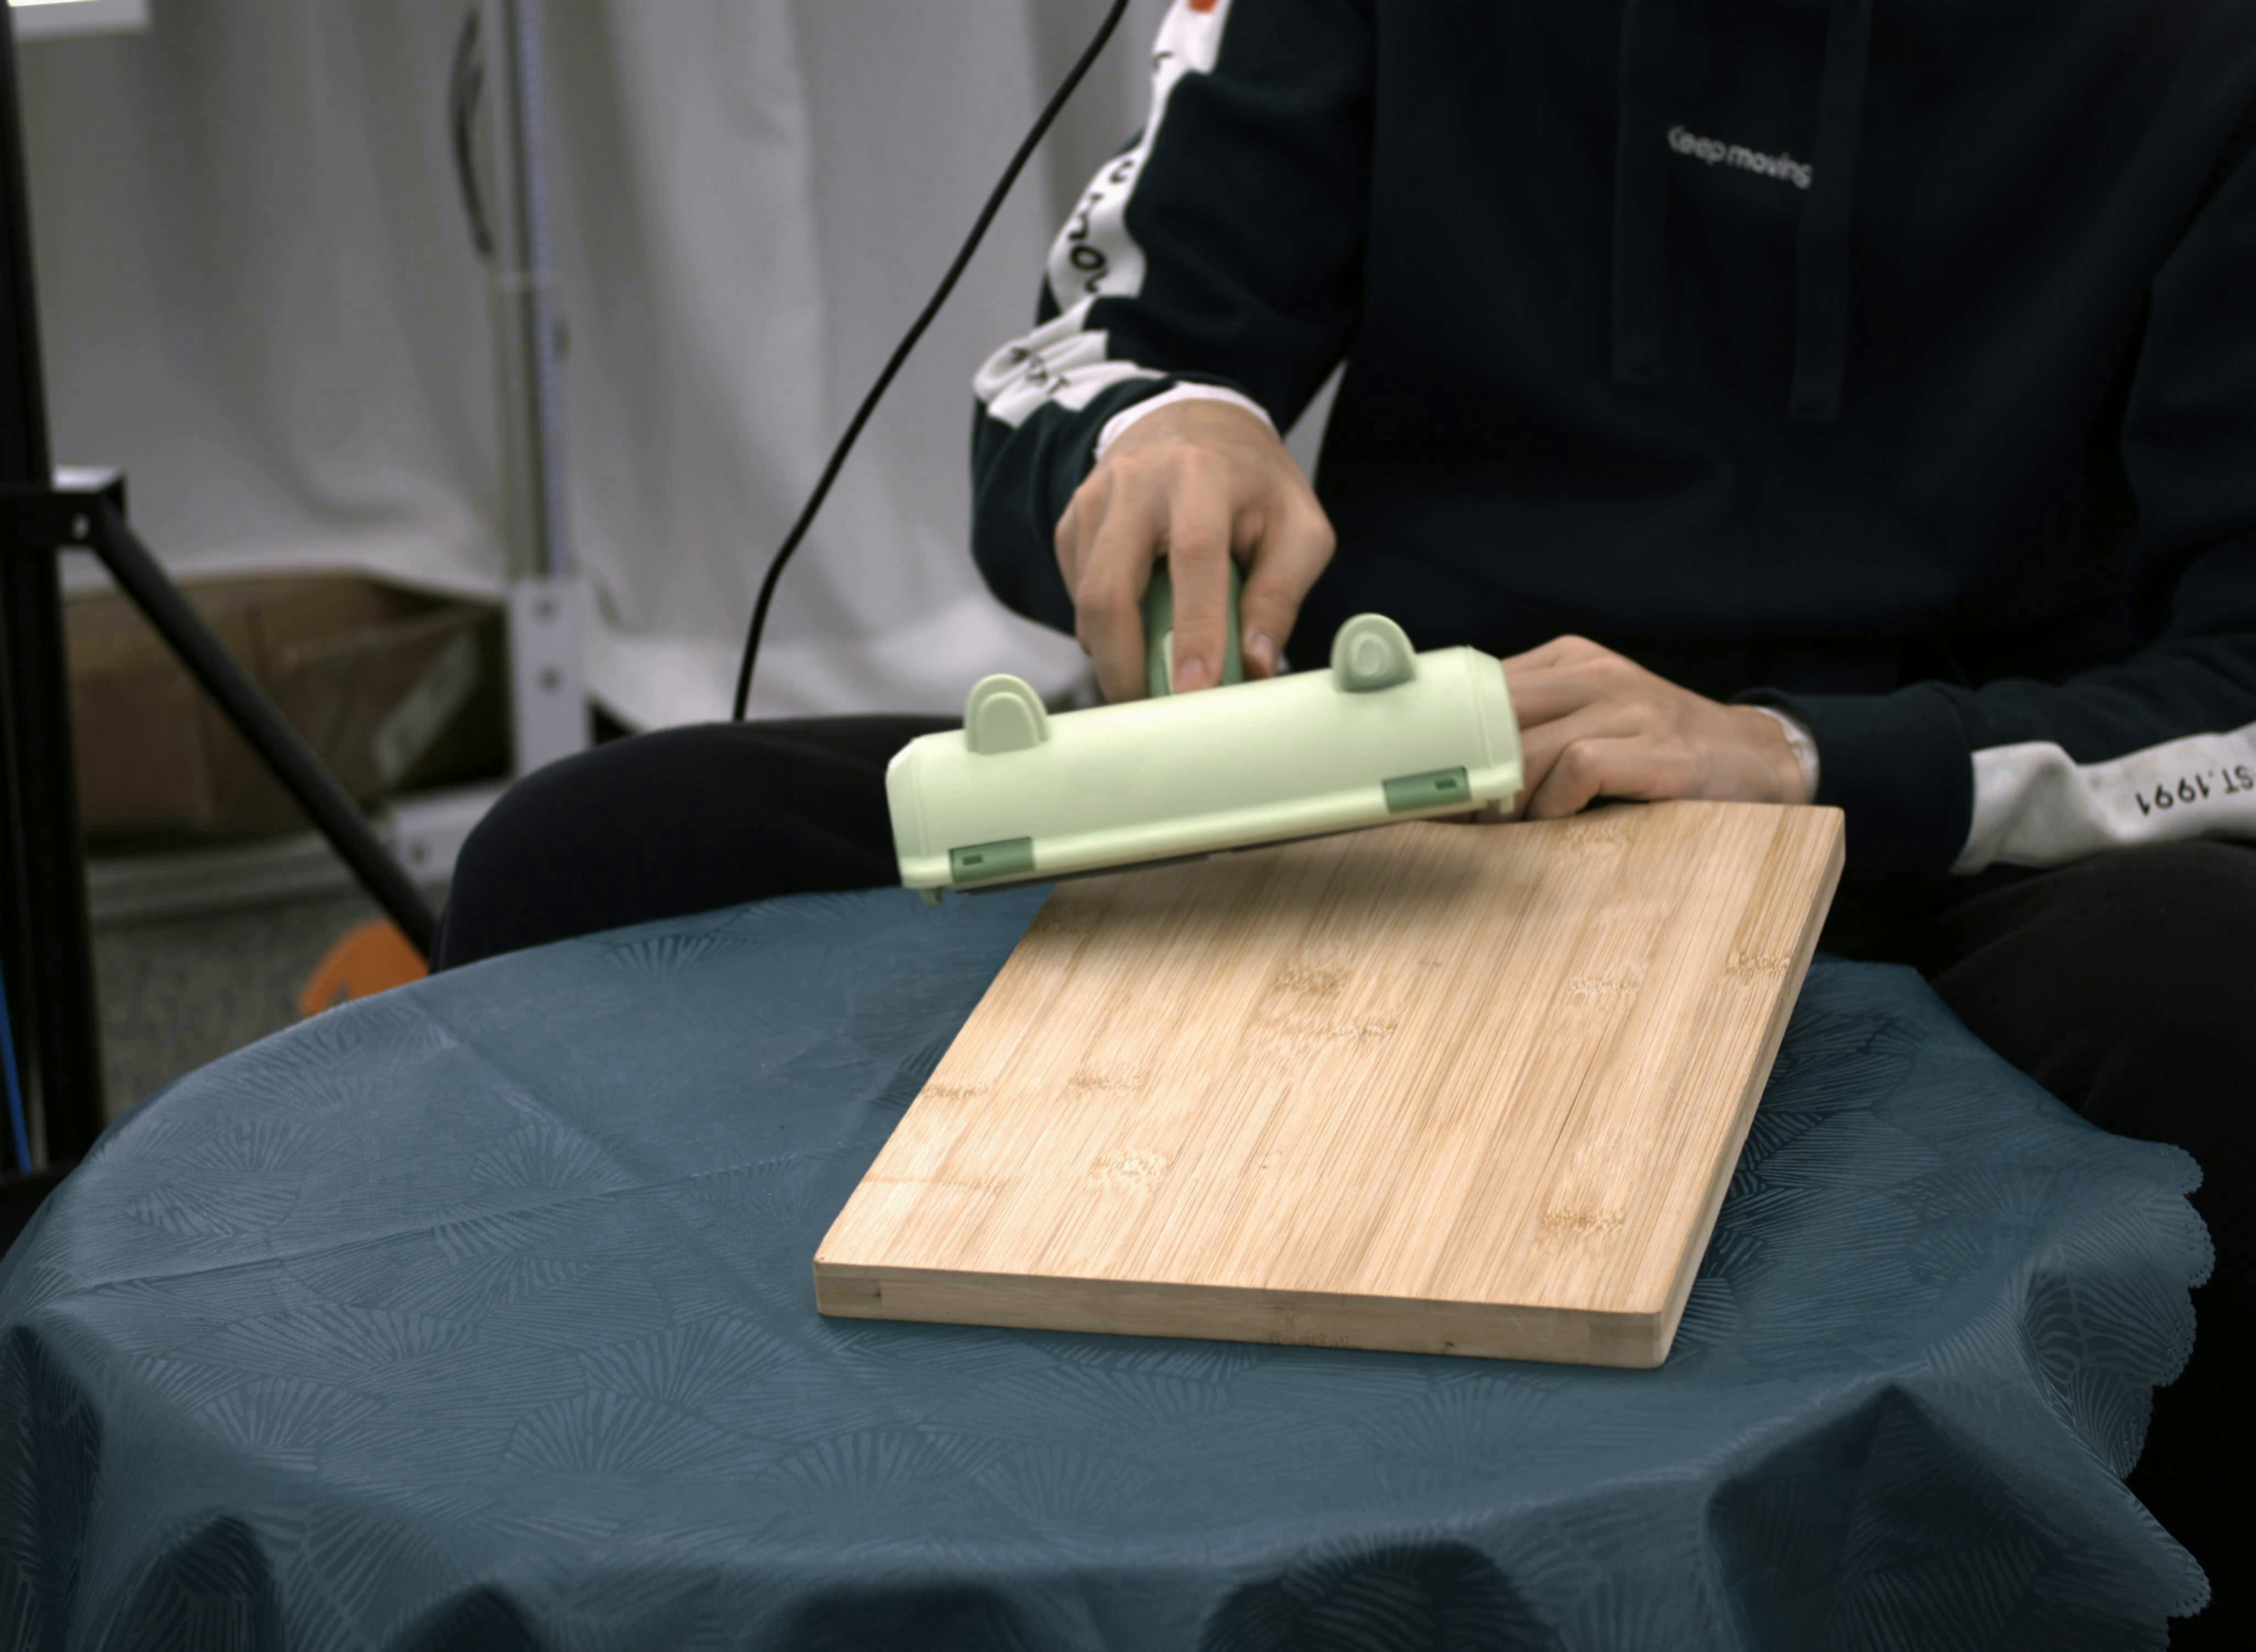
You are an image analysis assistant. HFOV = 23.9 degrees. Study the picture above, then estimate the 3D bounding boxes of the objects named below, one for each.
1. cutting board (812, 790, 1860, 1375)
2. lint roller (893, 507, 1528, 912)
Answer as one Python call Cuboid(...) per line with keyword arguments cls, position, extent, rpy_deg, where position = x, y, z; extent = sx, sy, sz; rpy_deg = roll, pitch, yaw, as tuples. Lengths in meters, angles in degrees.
Cuboid(cls="cutting board", position=(0.073, 0.065, 1.586), extent=(0.253, 0.023, 0.347), rpy_deg=(2, 24, 16))
Cuboid(cls="lint roller", position=(0.021, -0.058, 1.697), extent=(0.198, 0.081, 0.185), rpy_deg=(-9, 45, 5))
